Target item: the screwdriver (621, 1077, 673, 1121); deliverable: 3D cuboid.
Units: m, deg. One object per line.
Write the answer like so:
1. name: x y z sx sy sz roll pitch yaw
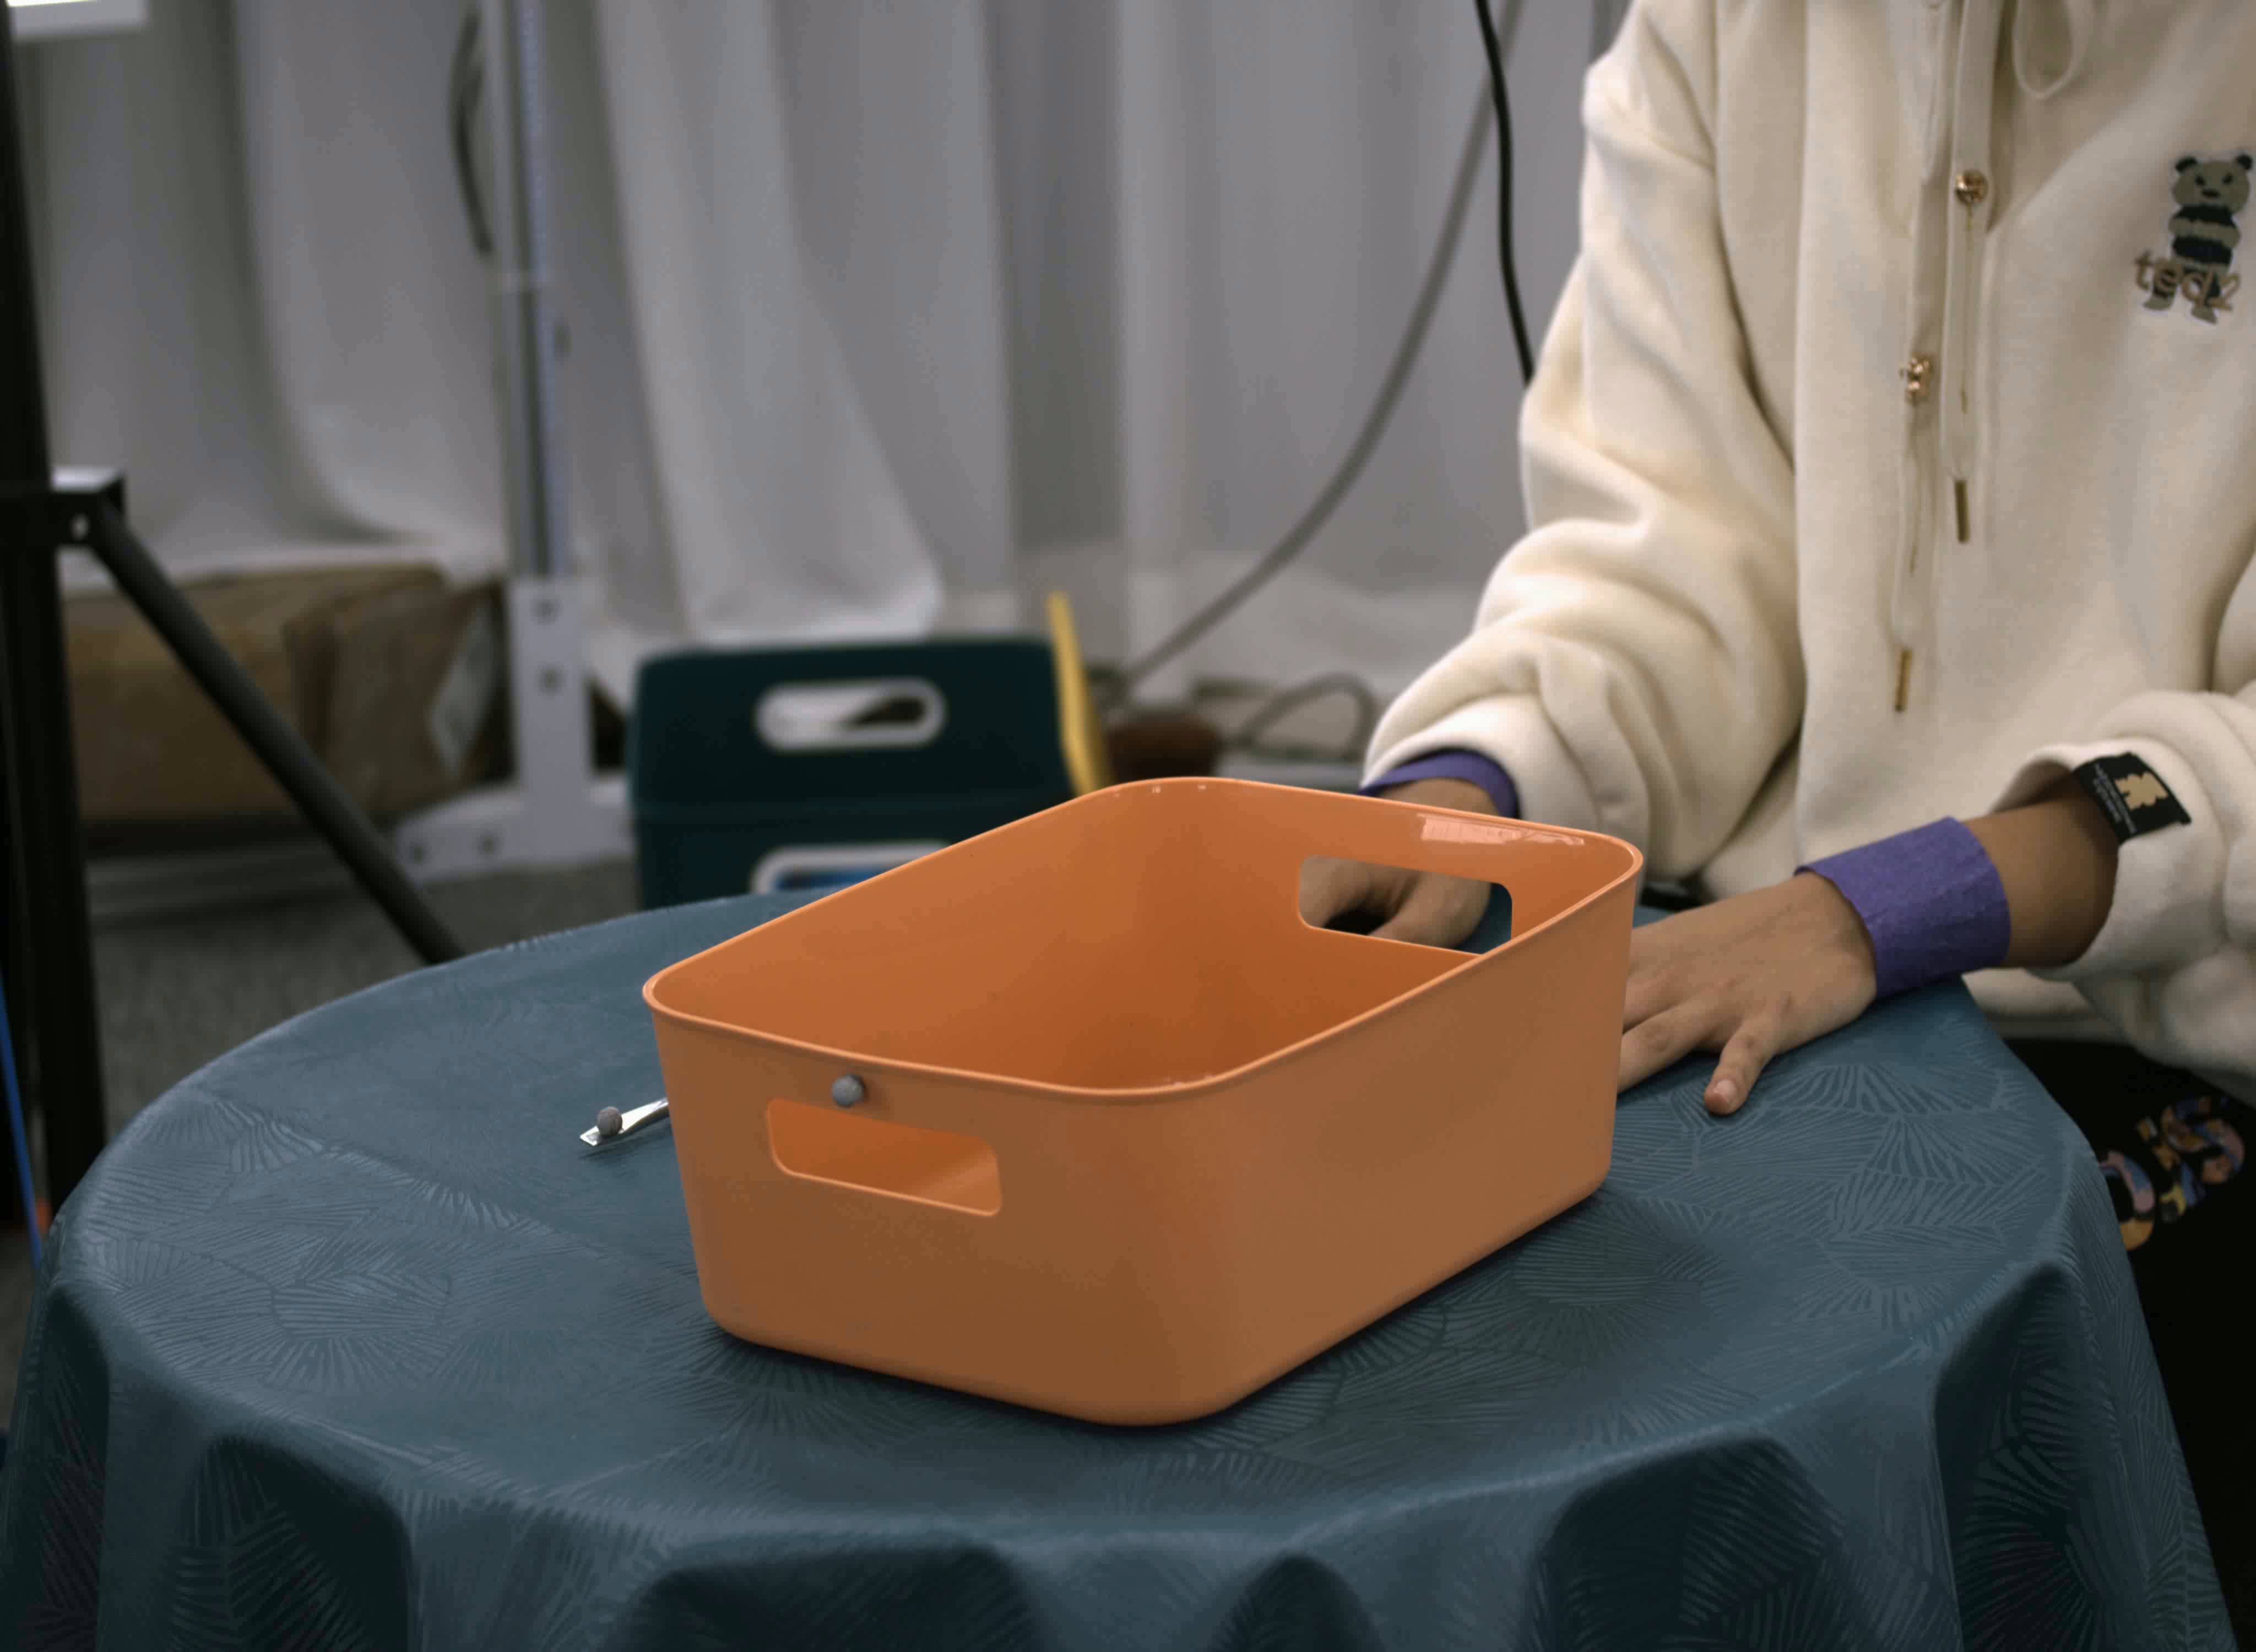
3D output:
1. screwdriver: -0.085 0.055 1.674 0.032 0.031 0.194 11 29 38

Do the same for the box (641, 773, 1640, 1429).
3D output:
1. box: 0.011 0.073 1.488 0.203 0.102 0.268 8 19 35
